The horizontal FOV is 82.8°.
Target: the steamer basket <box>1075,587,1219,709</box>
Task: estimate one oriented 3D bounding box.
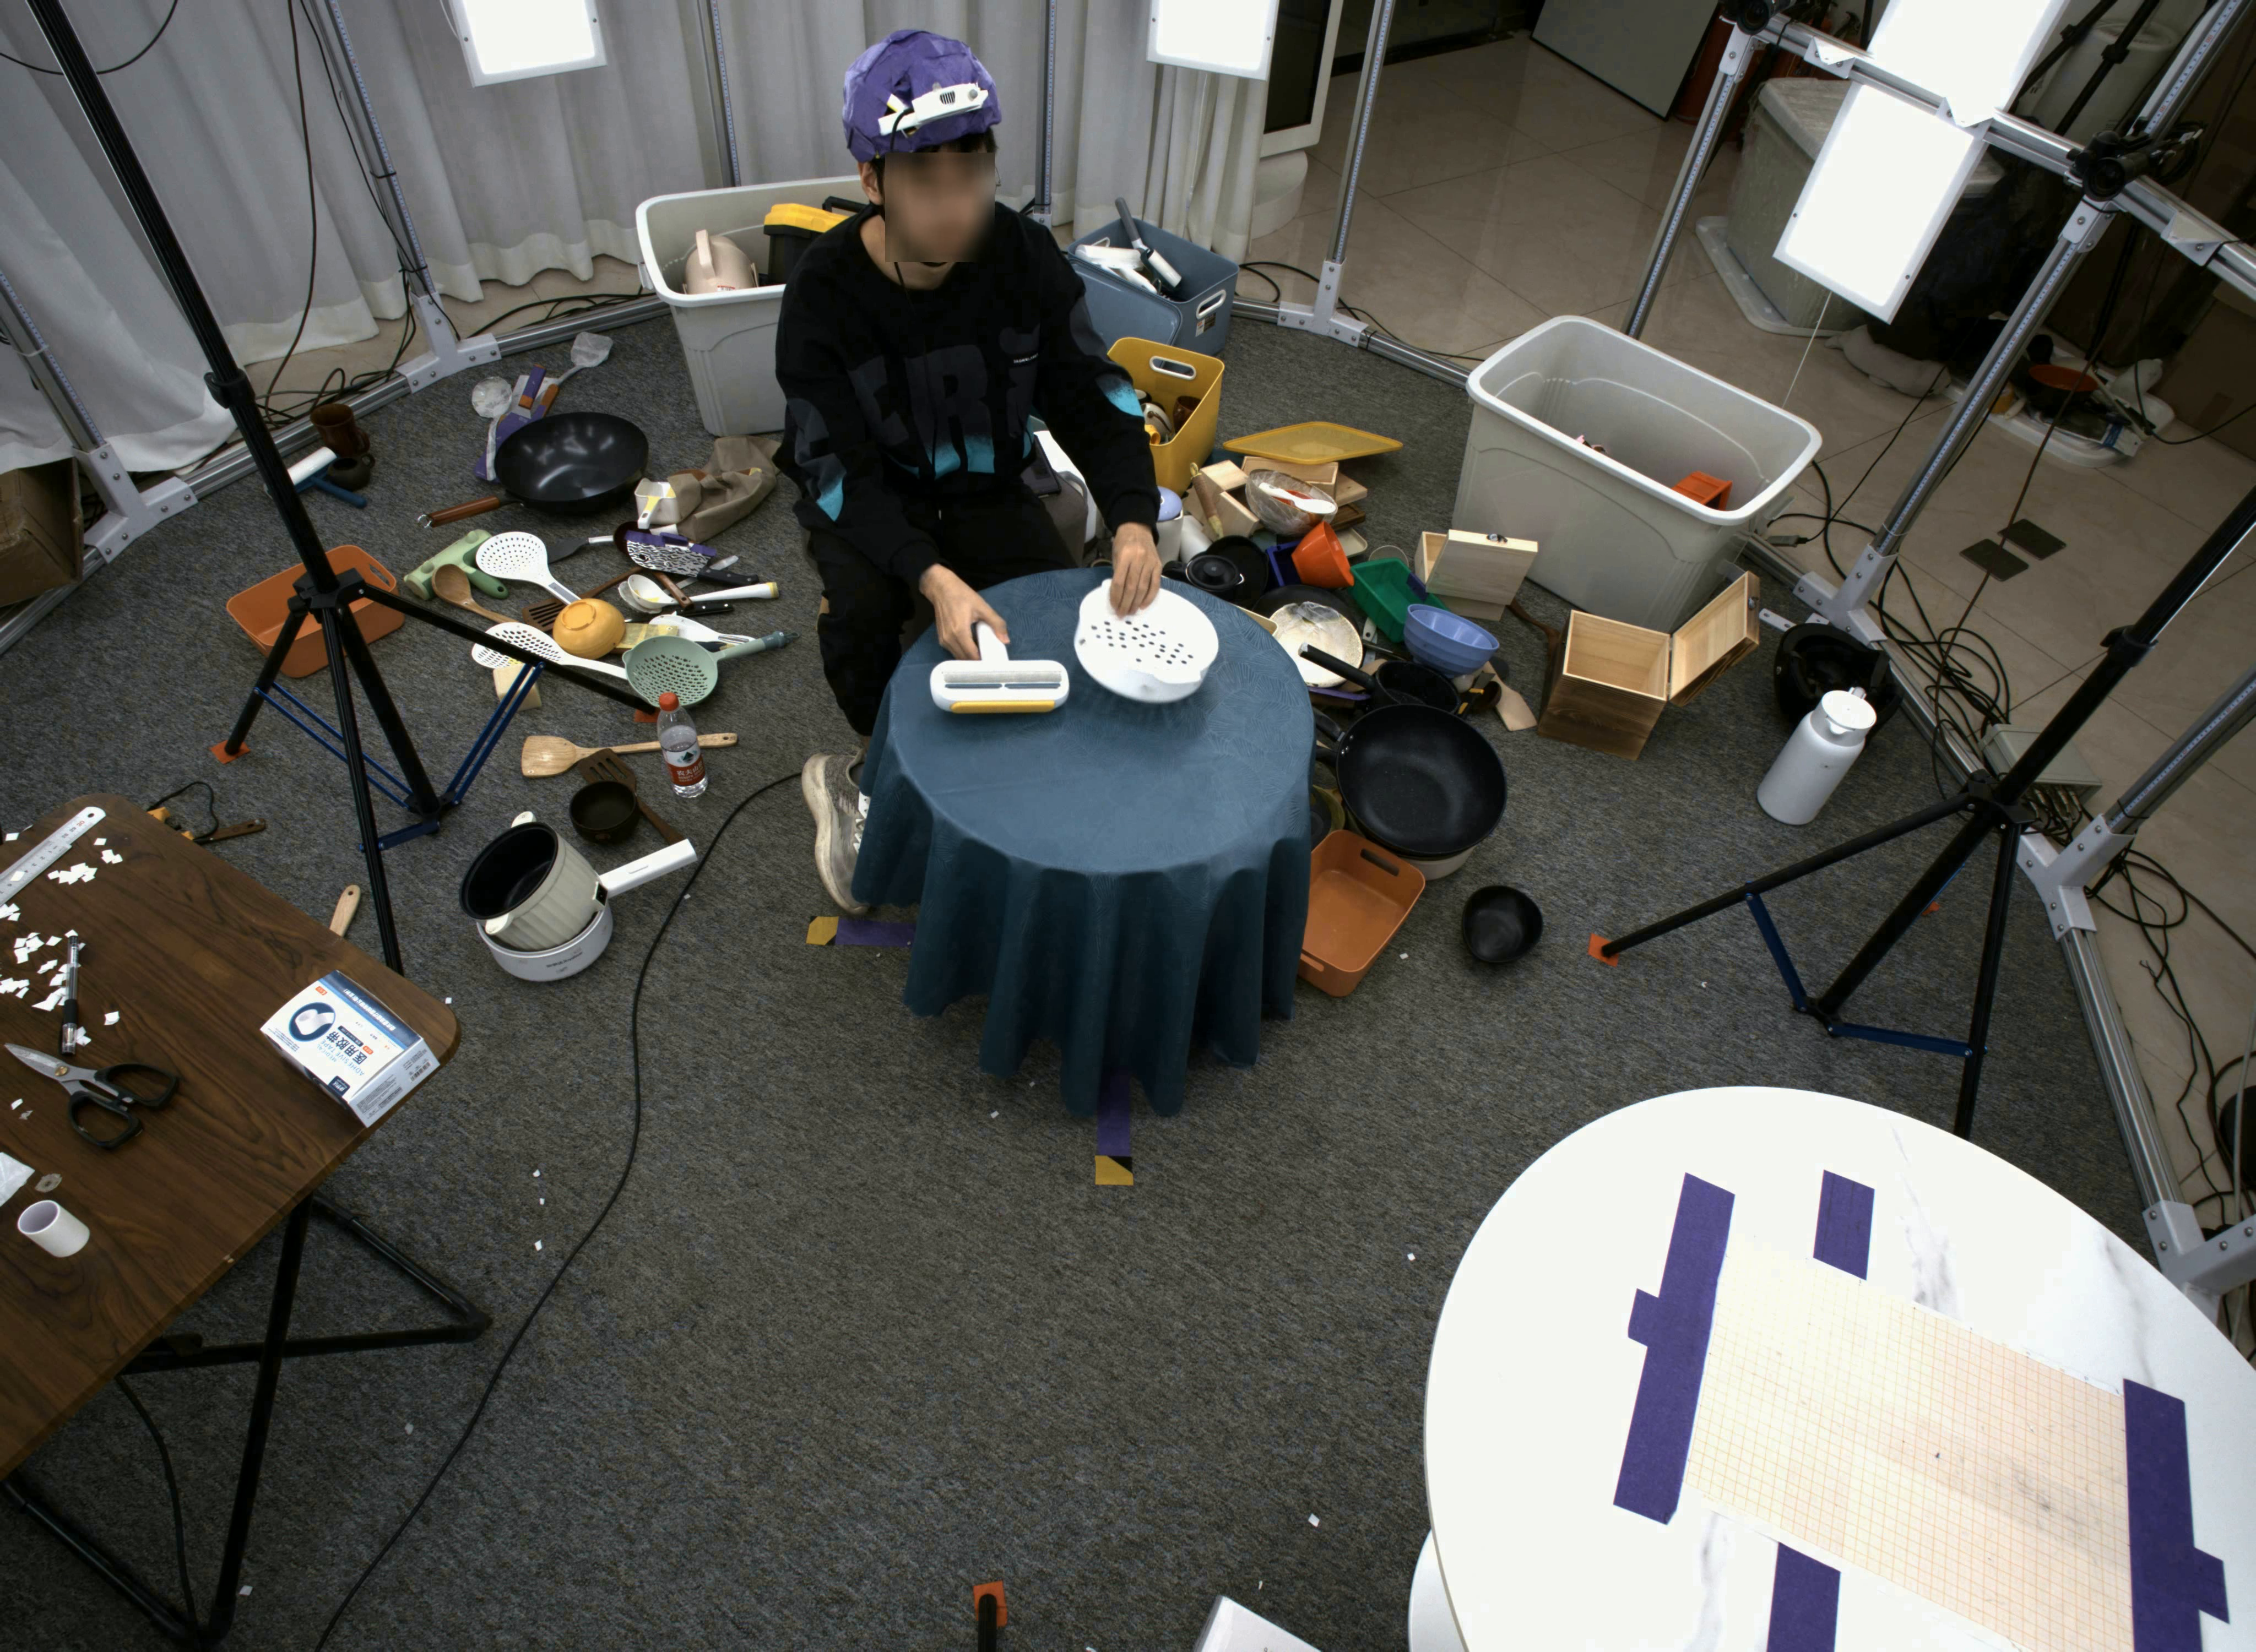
[{"bbox_3d":[0.025,-0.249,1.816,0.201,0.068,0.236,-6,46,-26],"label":"steamer basket"}]

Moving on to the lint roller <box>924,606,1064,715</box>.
[{"bbox_3d":[-0.191,-0.241,1.806,0.192,0.073,0.196,-1,61,-11],"label":"lint roller"}]
